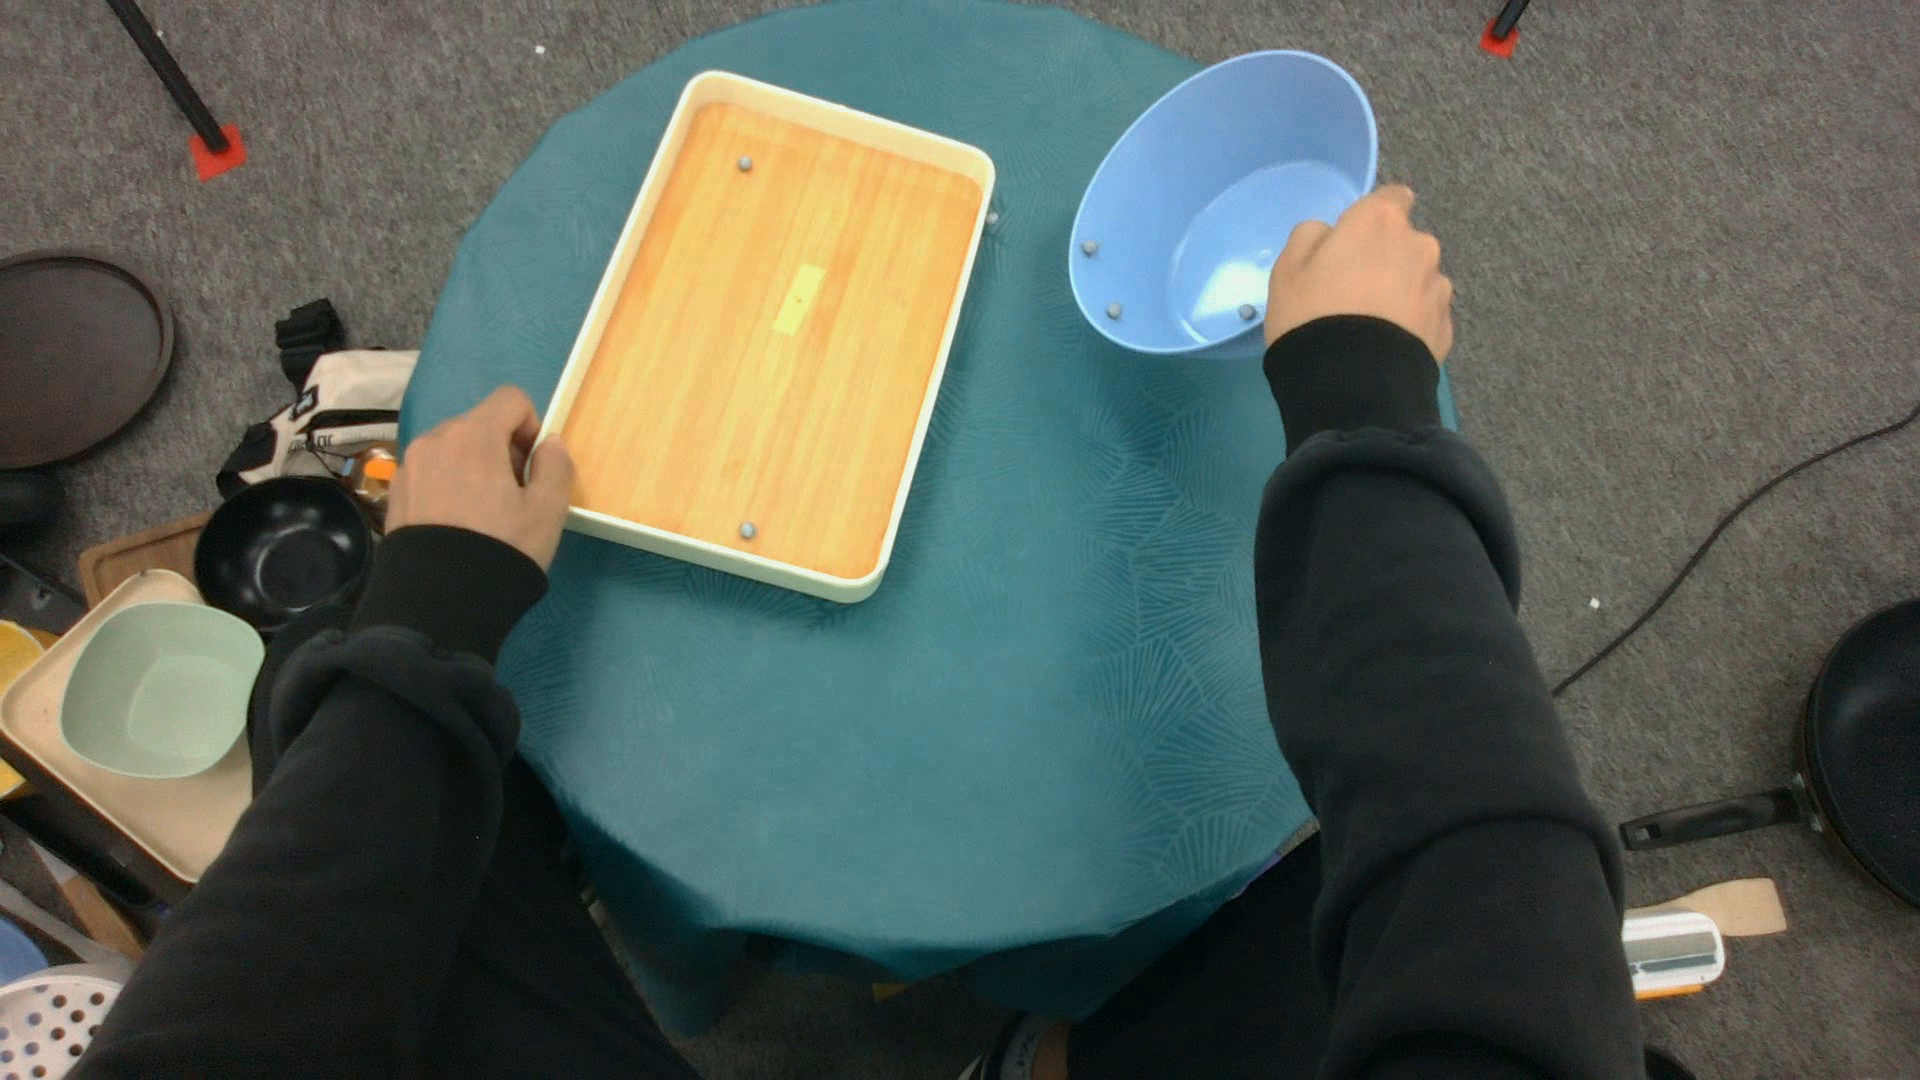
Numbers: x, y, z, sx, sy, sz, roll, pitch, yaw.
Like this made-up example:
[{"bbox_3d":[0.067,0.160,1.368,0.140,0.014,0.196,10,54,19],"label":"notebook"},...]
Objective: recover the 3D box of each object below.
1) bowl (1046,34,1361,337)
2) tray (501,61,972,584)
[{"bbox_3d":[0.138,-0.176,0.734,0.175,0.070,0.176,-16,59,29],"label":"bowl"},{"bbox_3d":[-0.114,-0.131,0.769,0.191,0.027,0.301,15,63,-2],"label":"tray"}]
